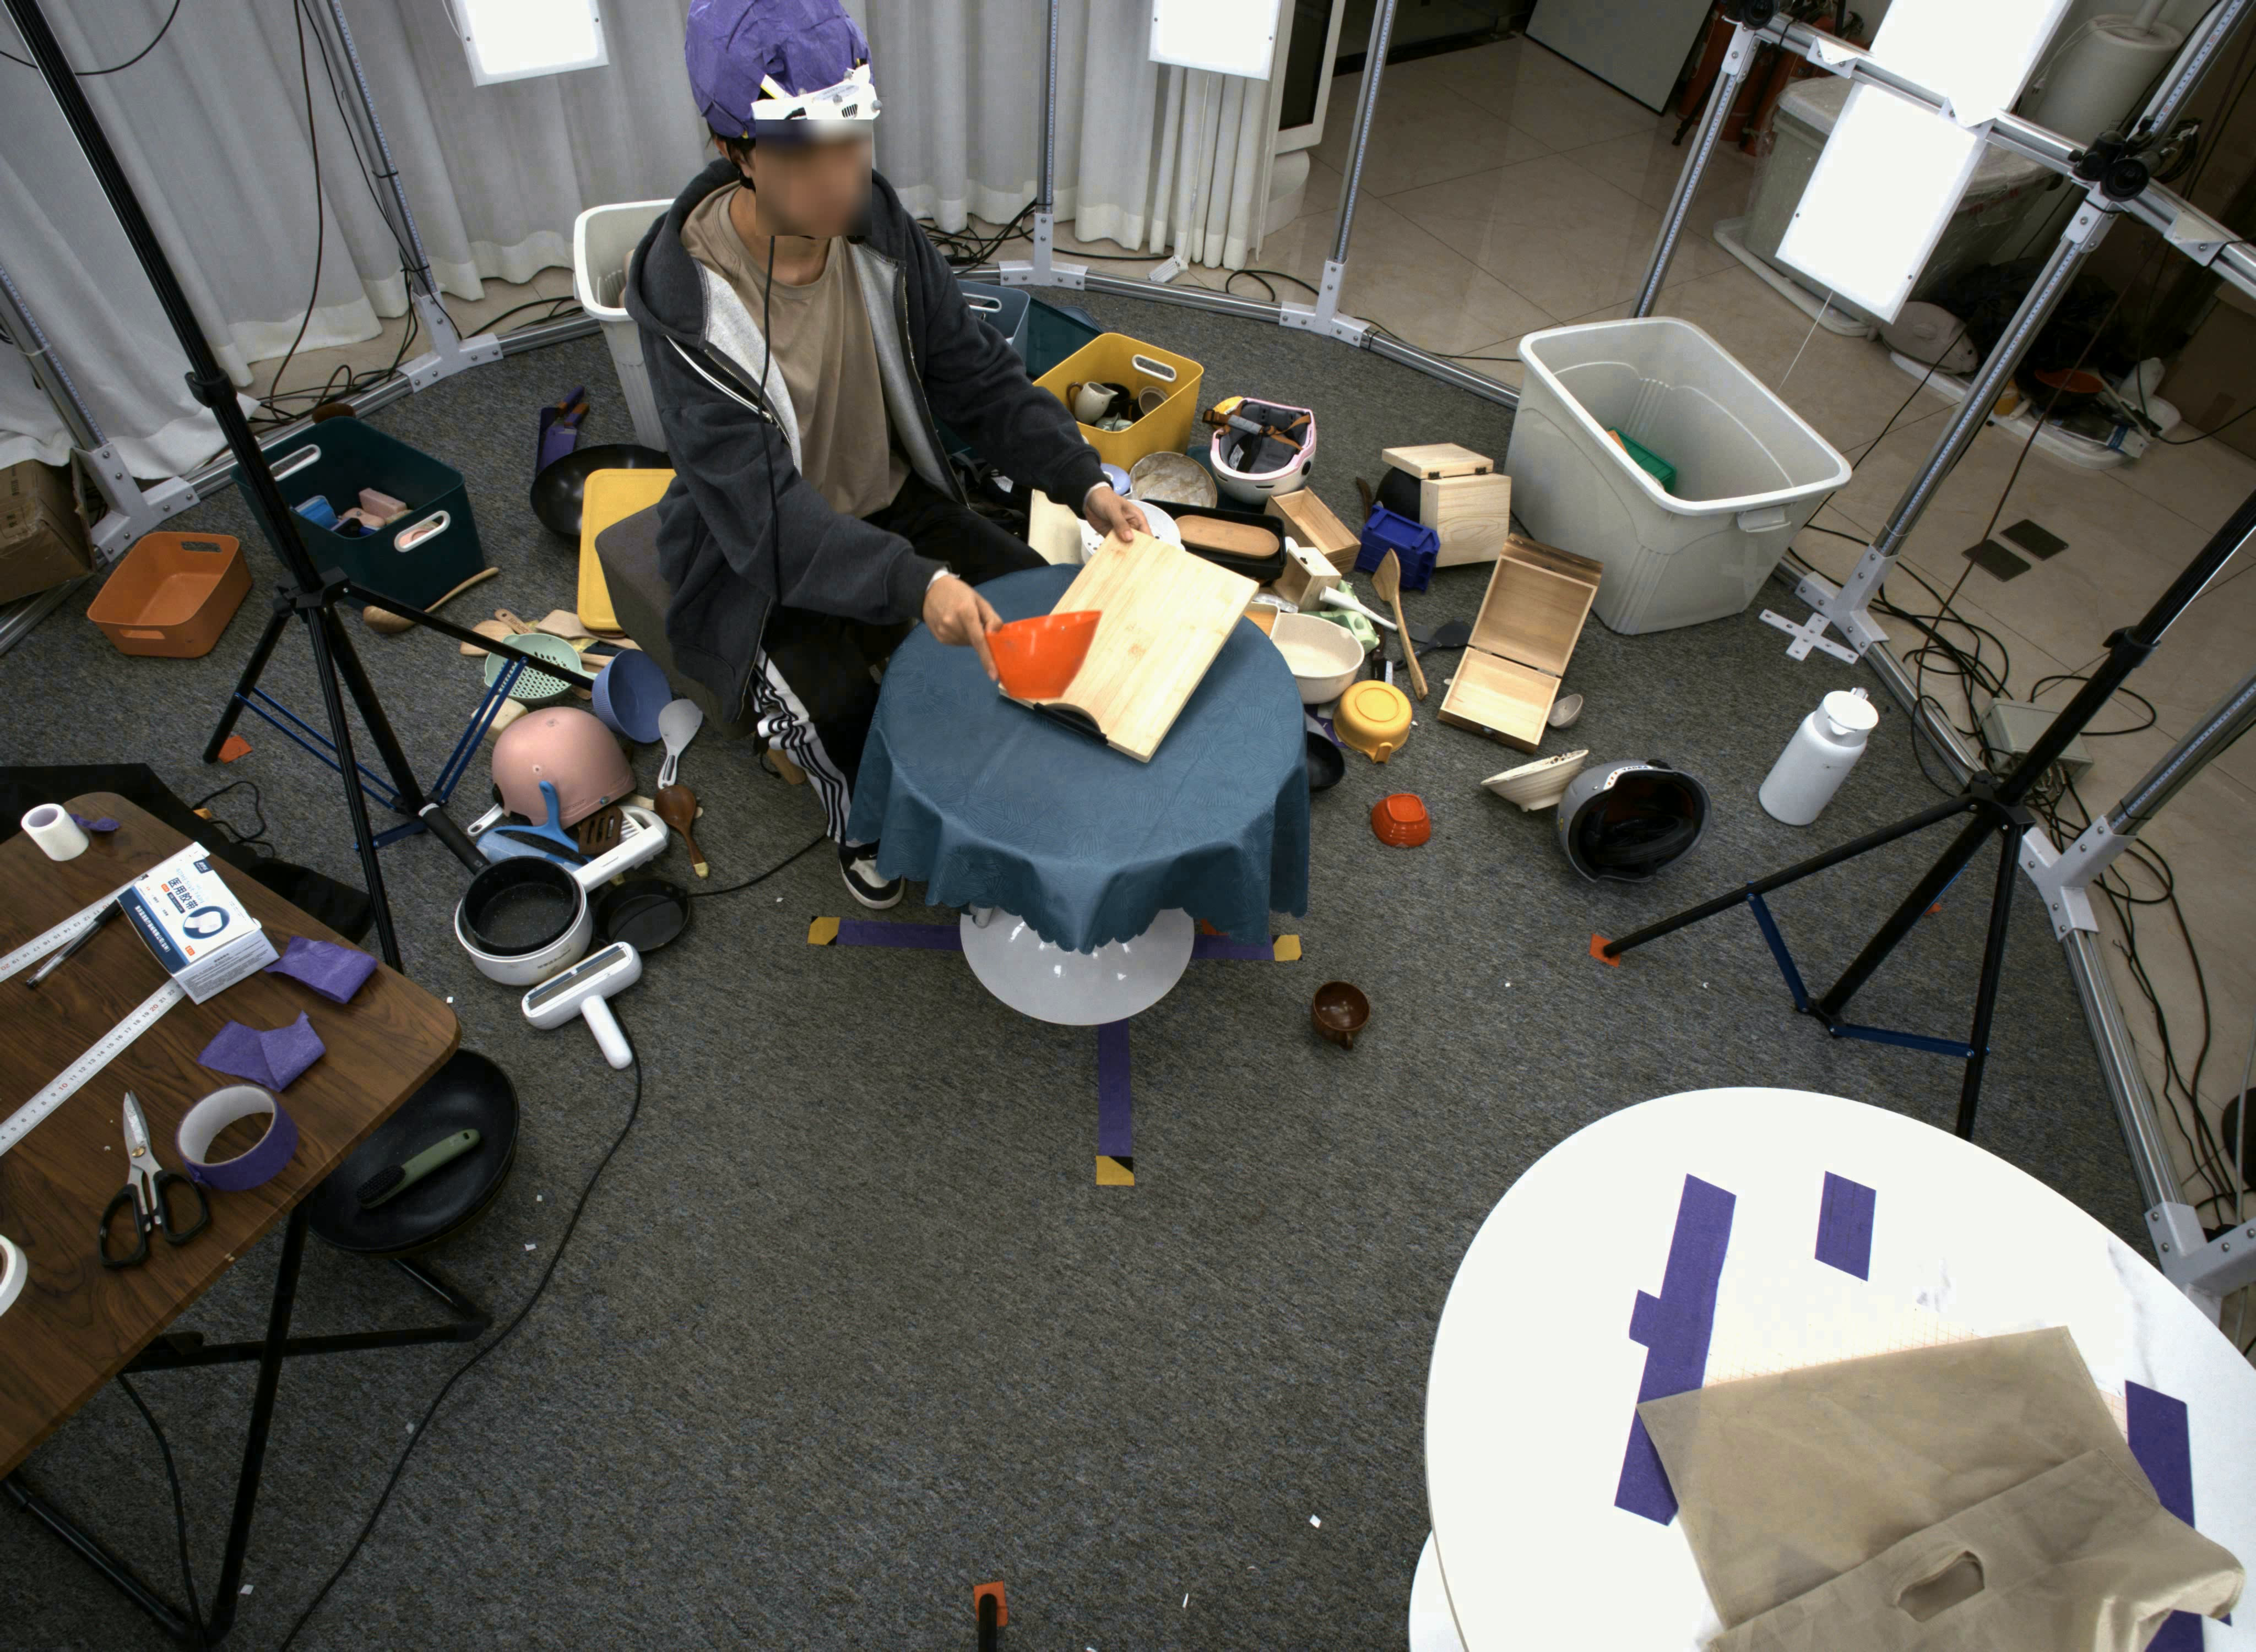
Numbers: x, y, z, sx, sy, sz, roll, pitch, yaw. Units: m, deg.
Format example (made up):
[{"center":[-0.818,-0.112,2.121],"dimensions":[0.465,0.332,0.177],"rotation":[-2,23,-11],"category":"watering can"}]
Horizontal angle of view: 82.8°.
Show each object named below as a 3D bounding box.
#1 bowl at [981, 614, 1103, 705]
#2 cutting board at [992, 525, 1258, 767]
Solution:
[{"center":[-0.105,-0.206,1.580],"dimensions":[0.148,0.103,0.149],"rotation":[1,13,0],"category":"bowl"},{"center":[0.002,-0.266,1.839],"dimensions":[0.252,0.023,0.354],"rotation":[25,63,15],"category":"cutting board"}]
